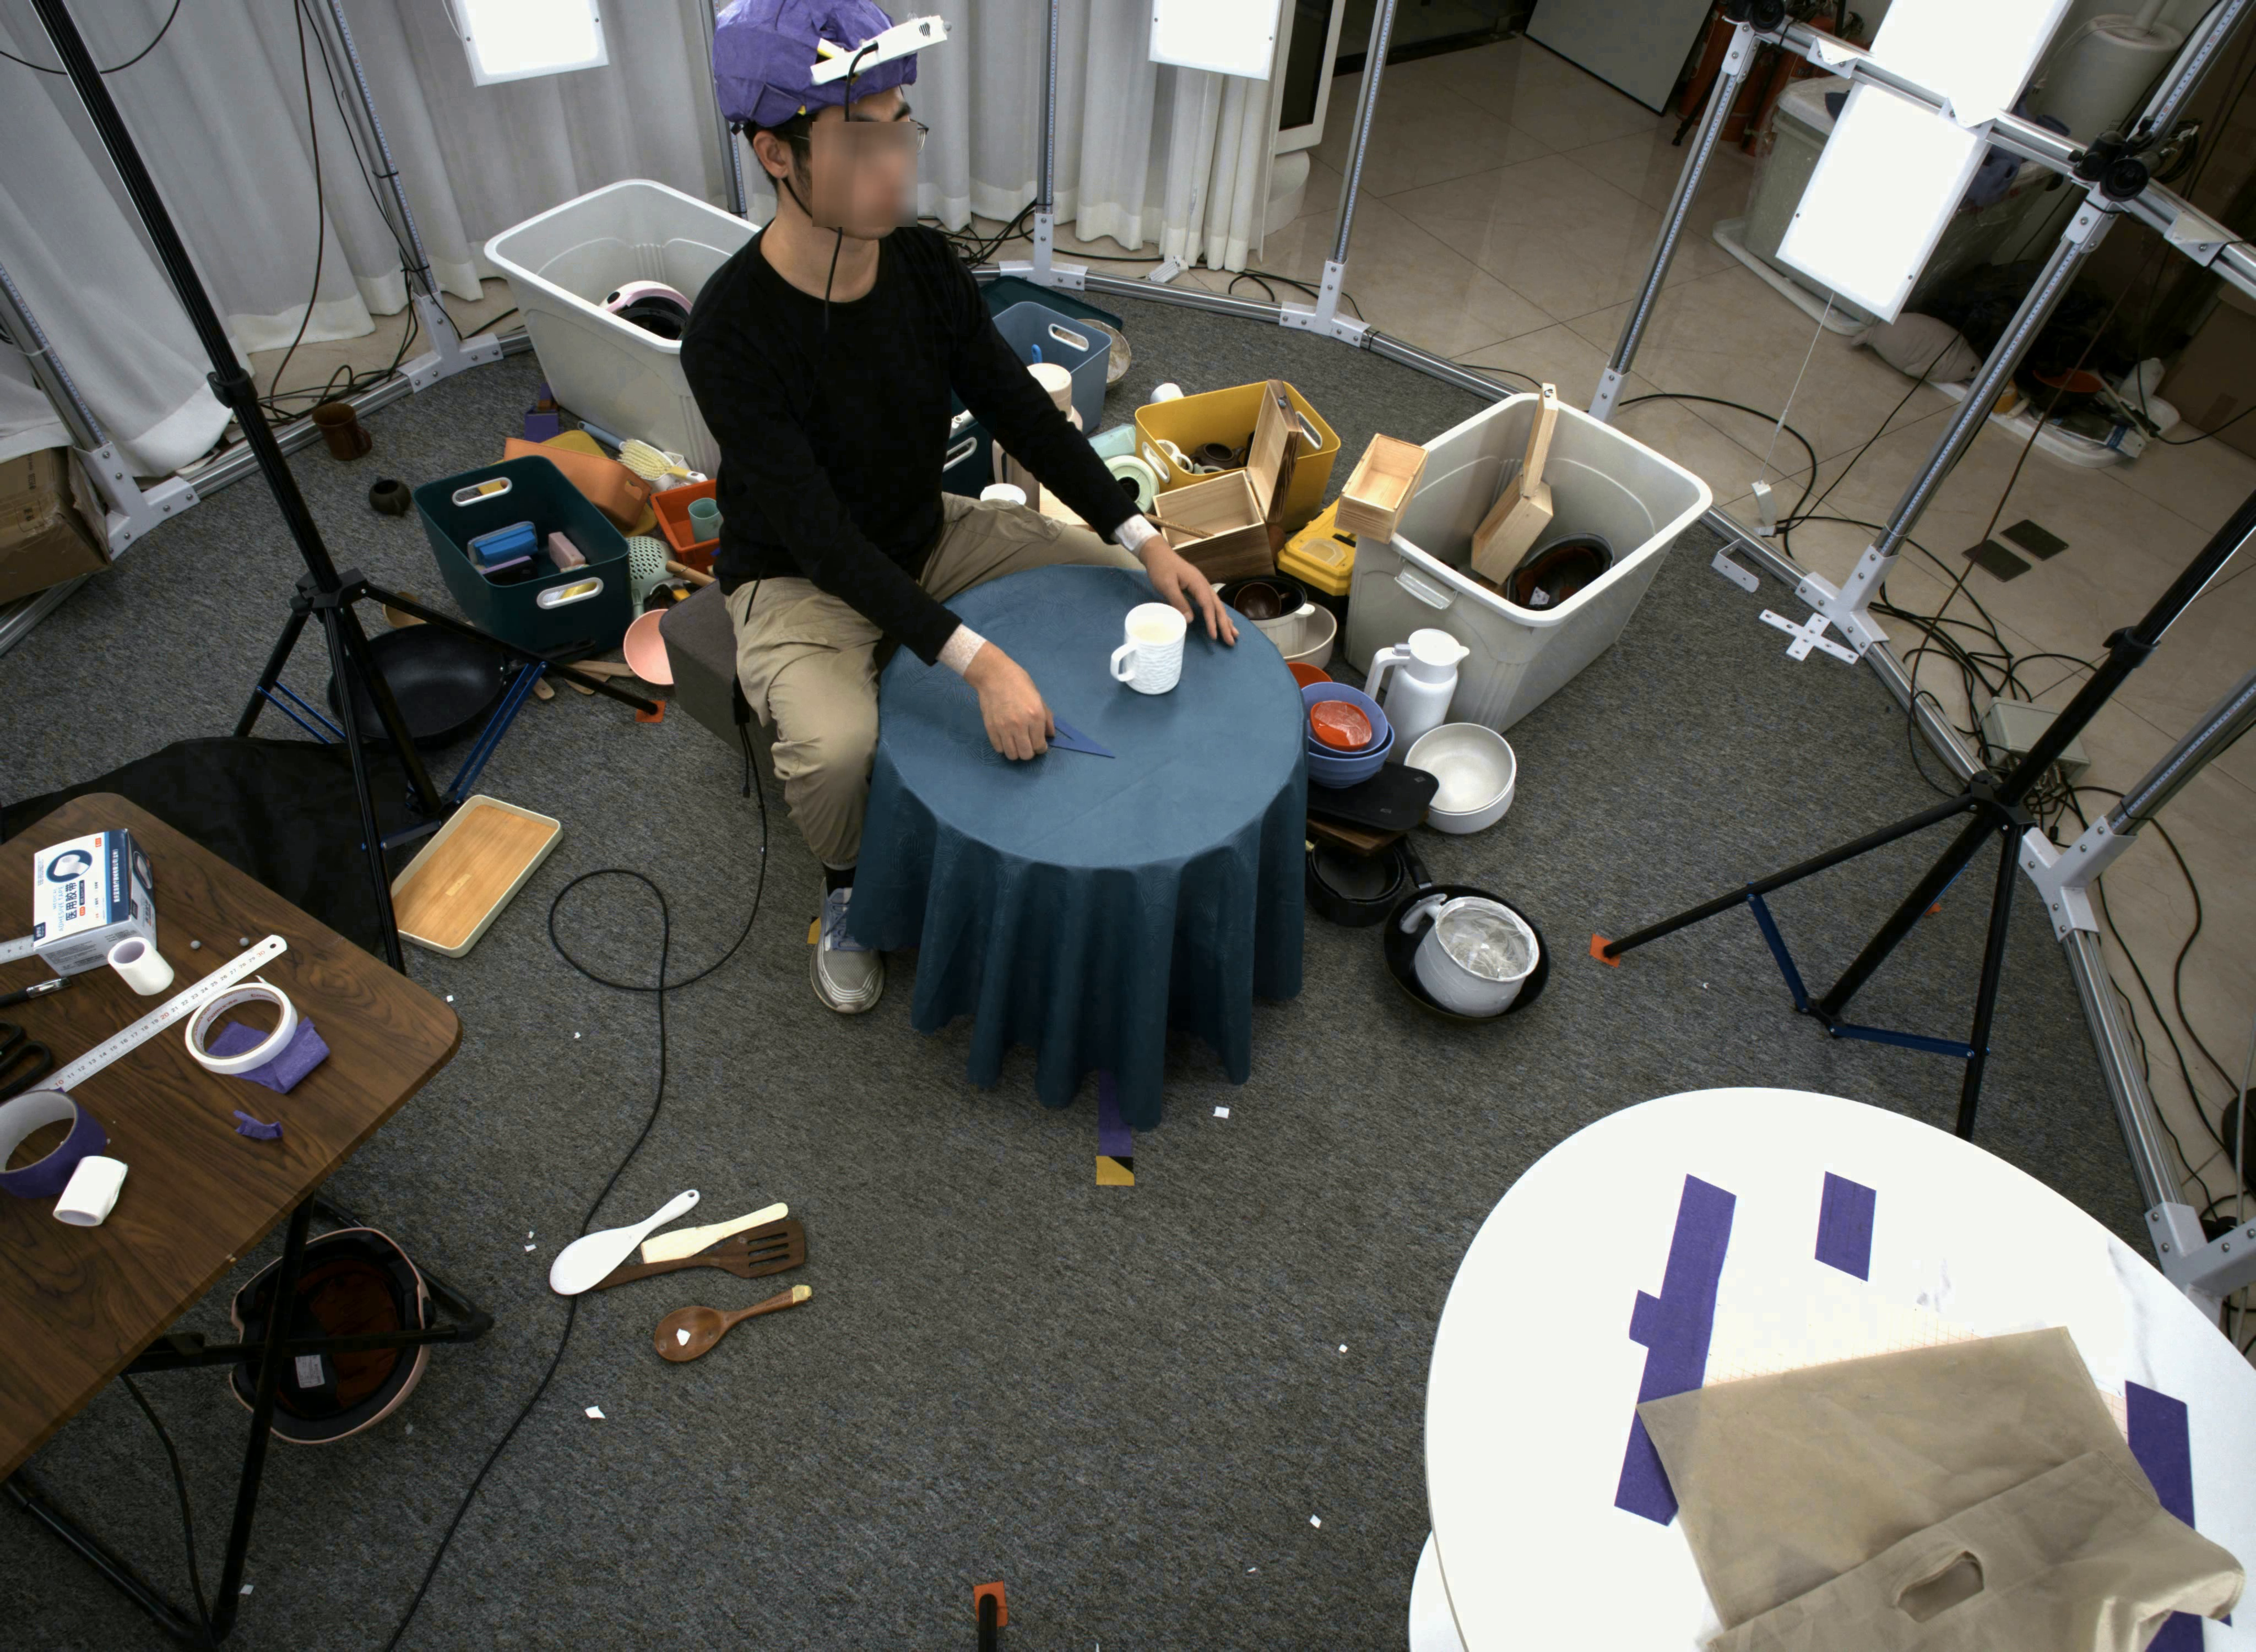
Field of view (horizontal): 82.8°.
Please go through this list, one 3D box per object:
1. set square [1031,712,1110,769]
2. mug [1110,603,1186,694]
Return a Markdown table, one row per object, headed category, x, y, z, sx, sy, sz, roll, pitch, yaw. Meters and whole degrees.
| category | x | y | z | sx | sy | sz | roll | pitch | yaw |
| --- | --- | --- | --- | --- | --- | --- | --- | --- | --- |
| set square | -0.086 | -0.108 | 1.756 | 0.061 | 0.006 | 0.134 | -35 | 60 | -28 |
| mug | 0.023 | -0.243 | 1.816 | 0.119 | 0.099 | 0.086 | -31 | 58 | -27 |
